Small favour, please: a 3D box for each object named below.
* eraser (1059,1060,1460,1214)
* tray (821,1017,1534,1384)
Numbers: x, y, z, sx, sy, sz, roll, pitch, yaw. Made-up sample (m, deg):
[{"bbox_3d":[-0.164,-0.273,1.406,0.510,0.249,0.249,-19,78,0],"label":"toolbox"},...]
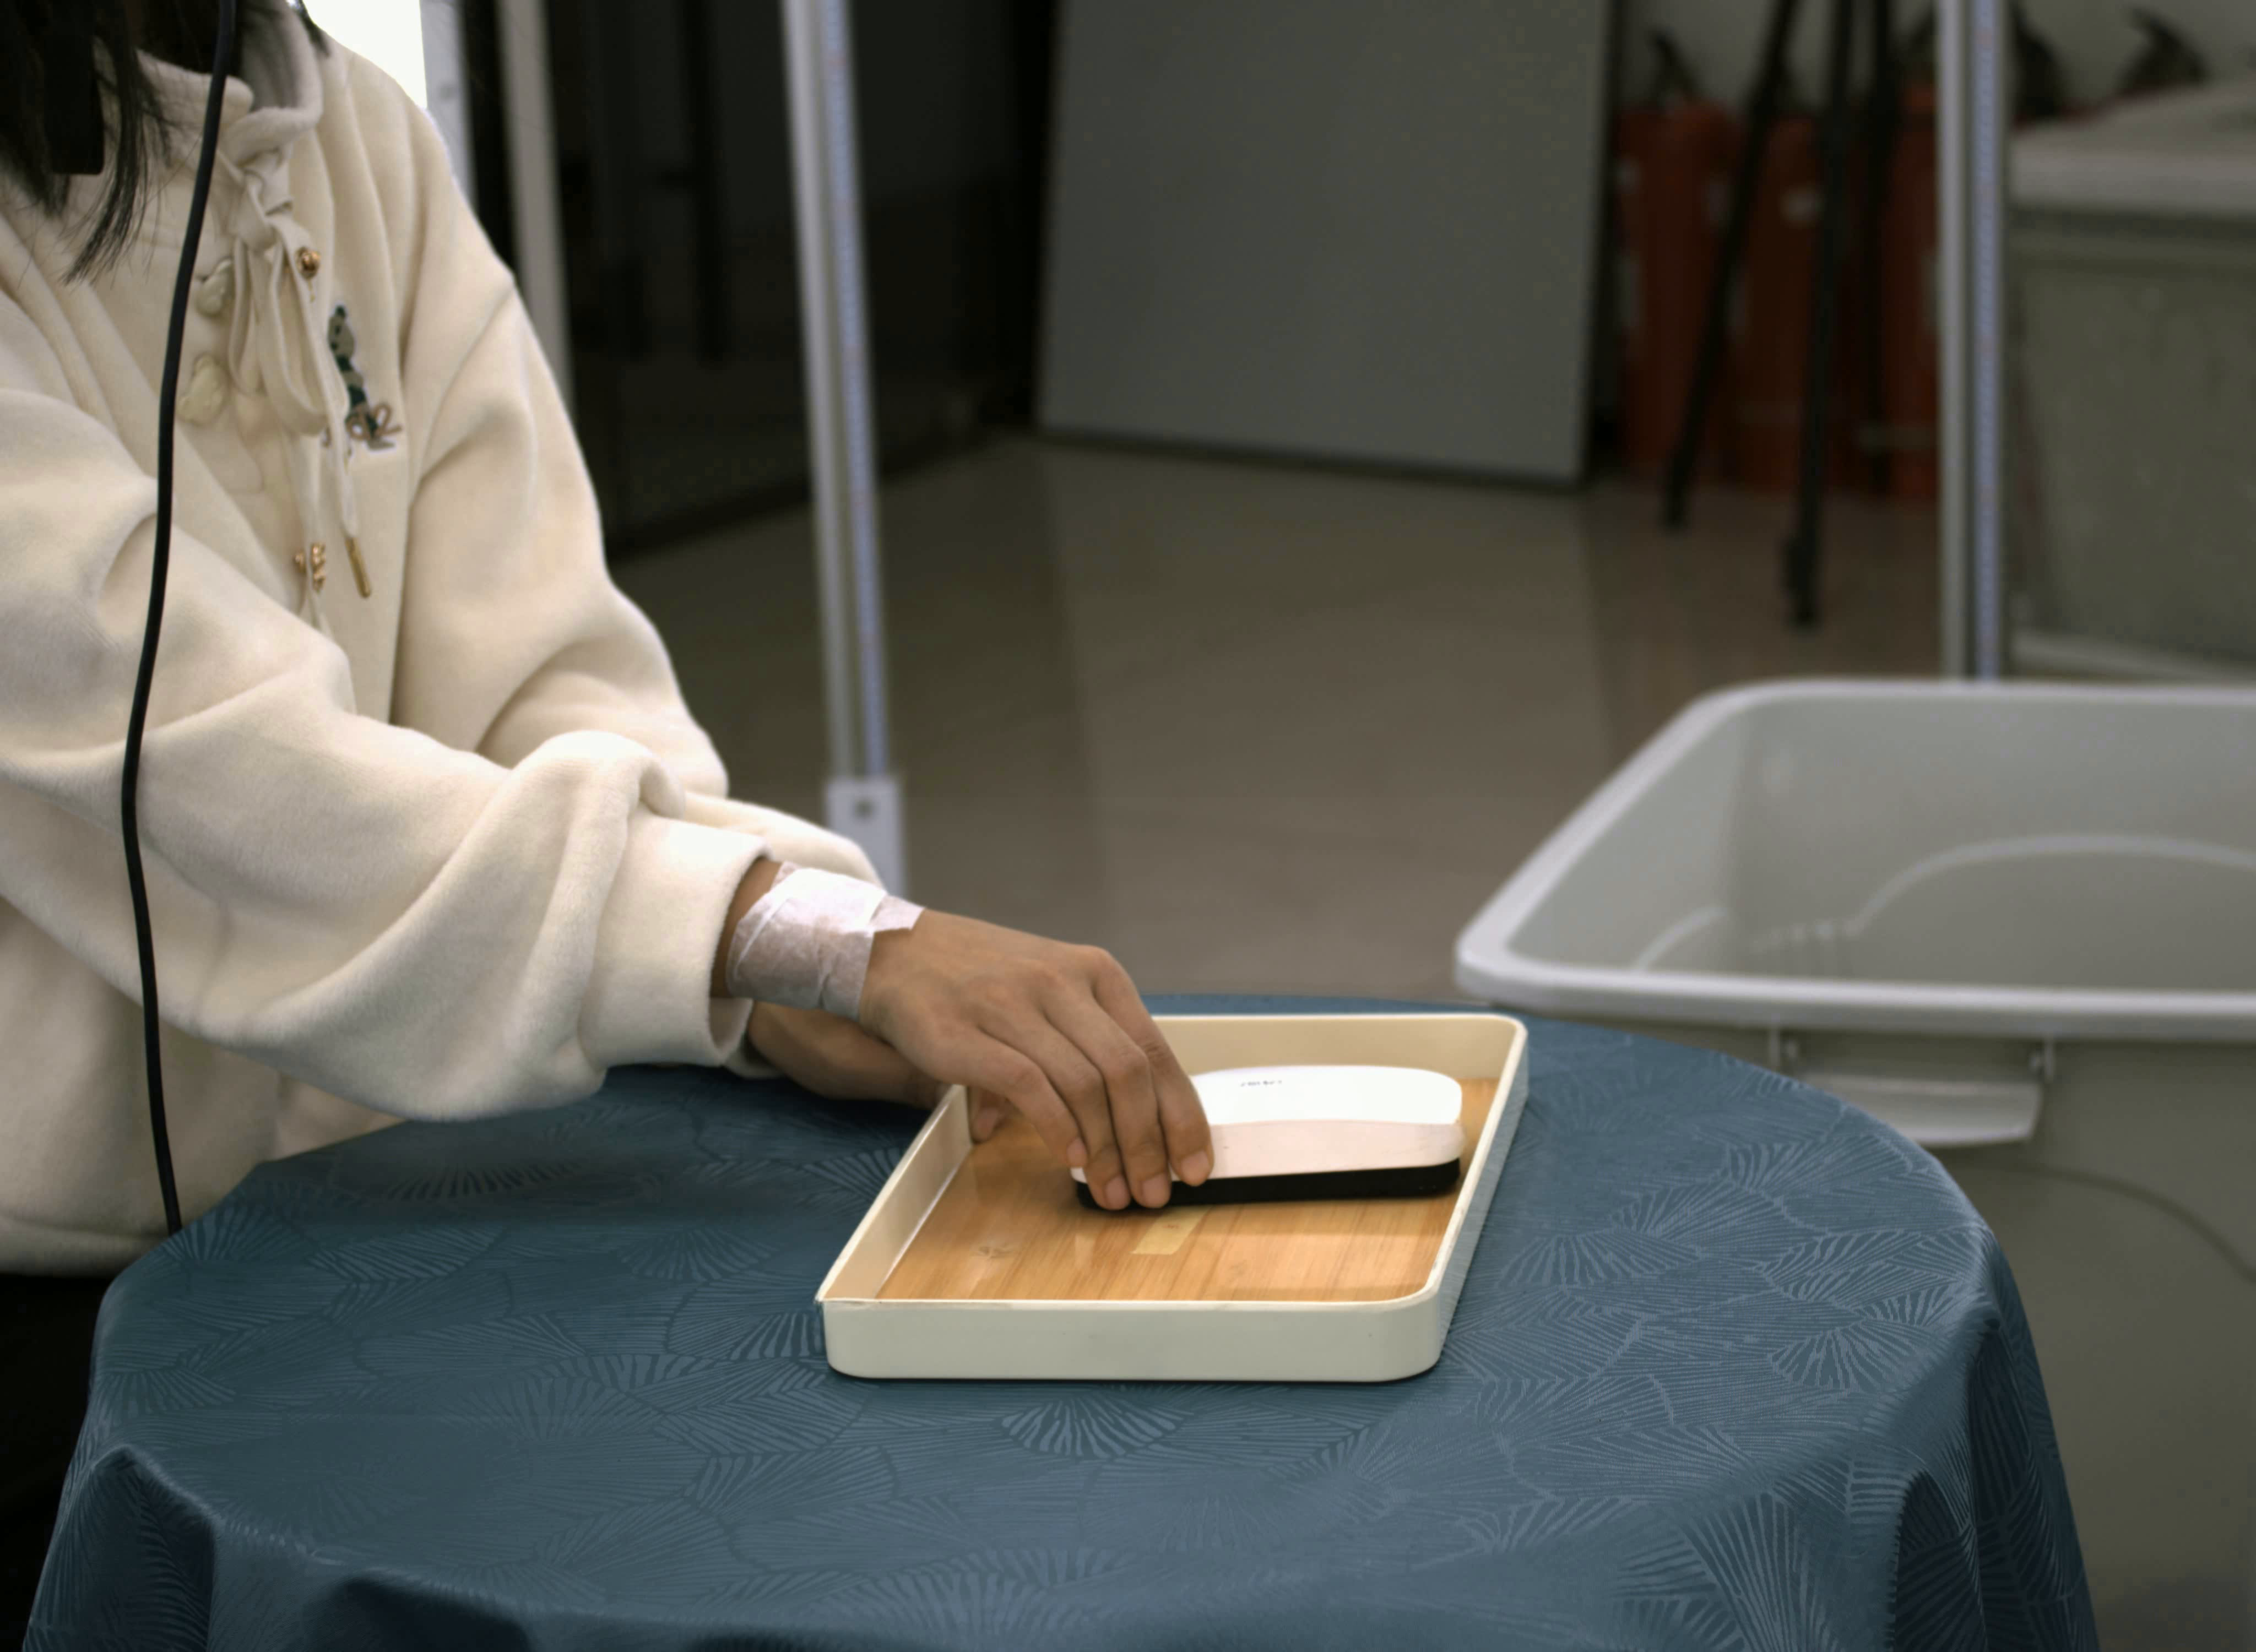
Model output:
[{"bbox_3d":[0.043,0.100,1.750,0.130,0.035,0.063,-3,13,5],"label":"eraser"},{"bbox_3d":[0.024,0.116,1.727,0.190,0.028,0.299,-1,14,12],"label":"tray"}]
